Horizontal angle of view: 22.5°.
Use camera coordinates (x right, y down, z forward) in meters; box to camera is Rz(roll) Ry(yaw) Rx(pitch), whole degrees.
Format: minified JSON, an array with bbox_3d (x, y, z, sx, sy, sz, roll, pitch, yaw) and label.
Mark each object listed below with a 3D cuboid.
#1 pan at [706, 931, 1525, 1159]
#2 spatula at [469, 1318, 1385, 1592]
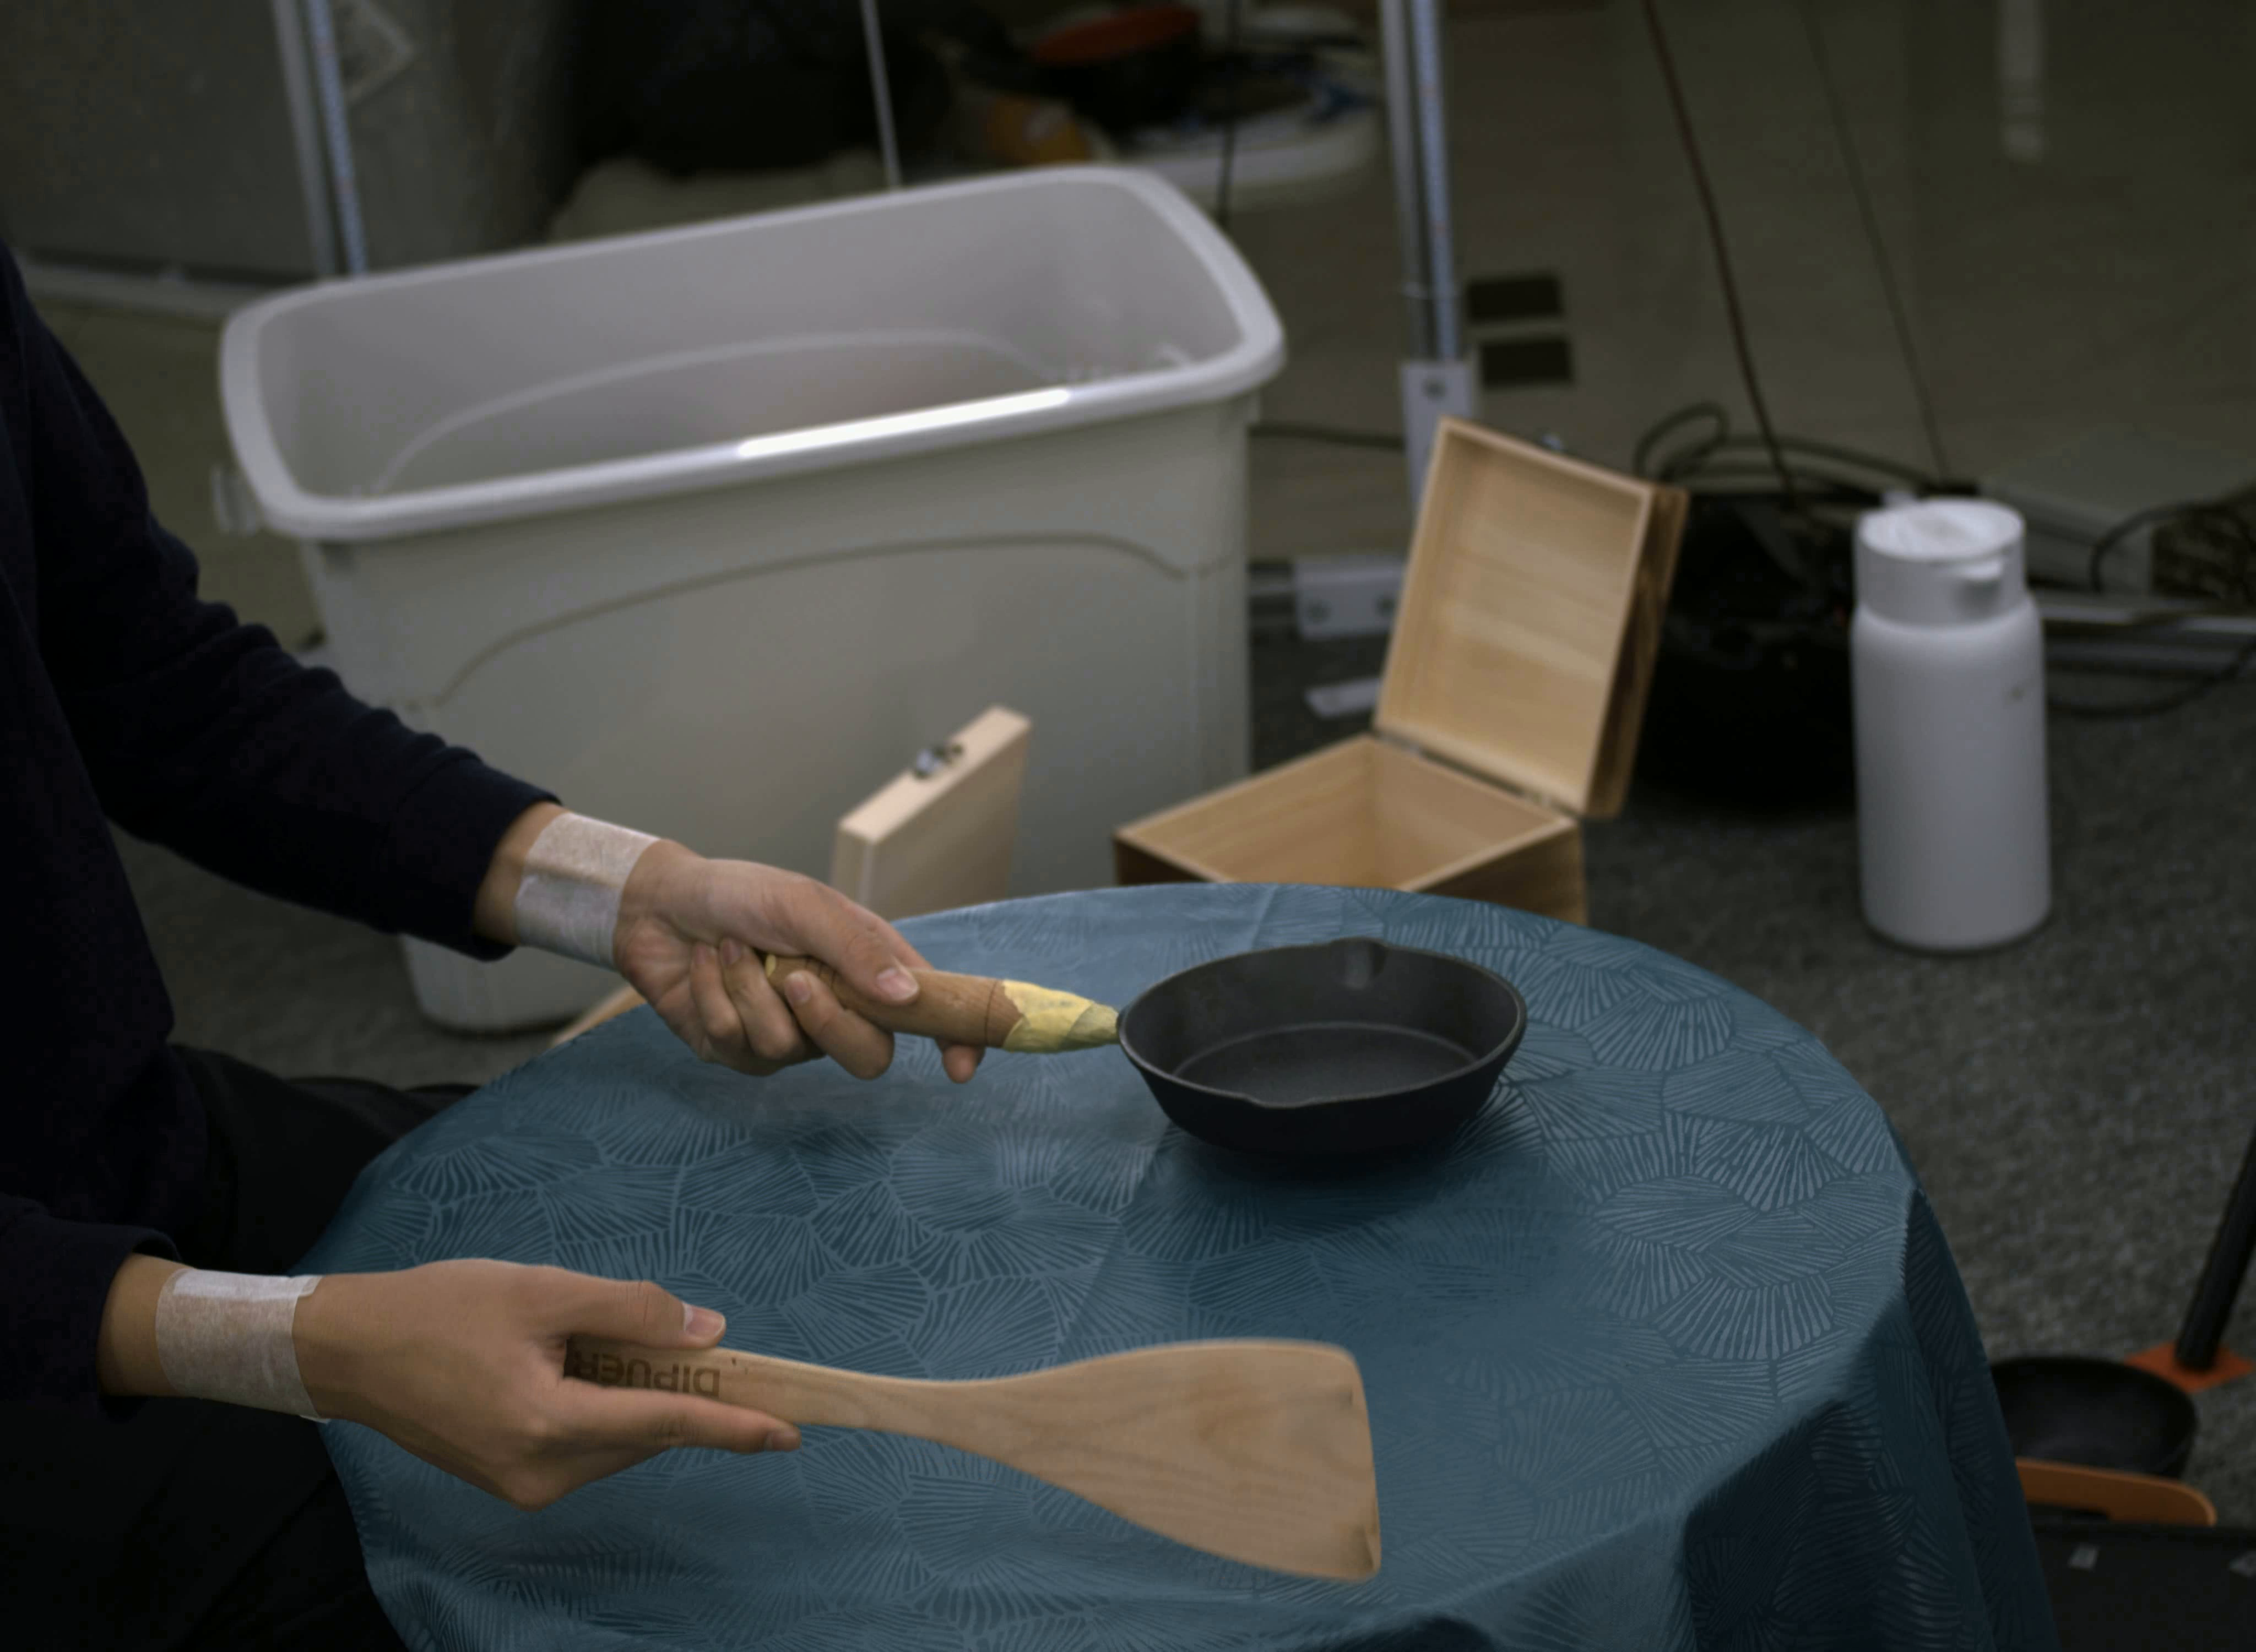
[{"bbox_3d":[-0.007,0.076,2.191,0.323,0.050,0.167,4,22,15],"label":"pan"},{"bbox_3d":[-0.069,0.196,1.897,0.326,0.081,0.016,6,14,15],"label":"spatula"}]
